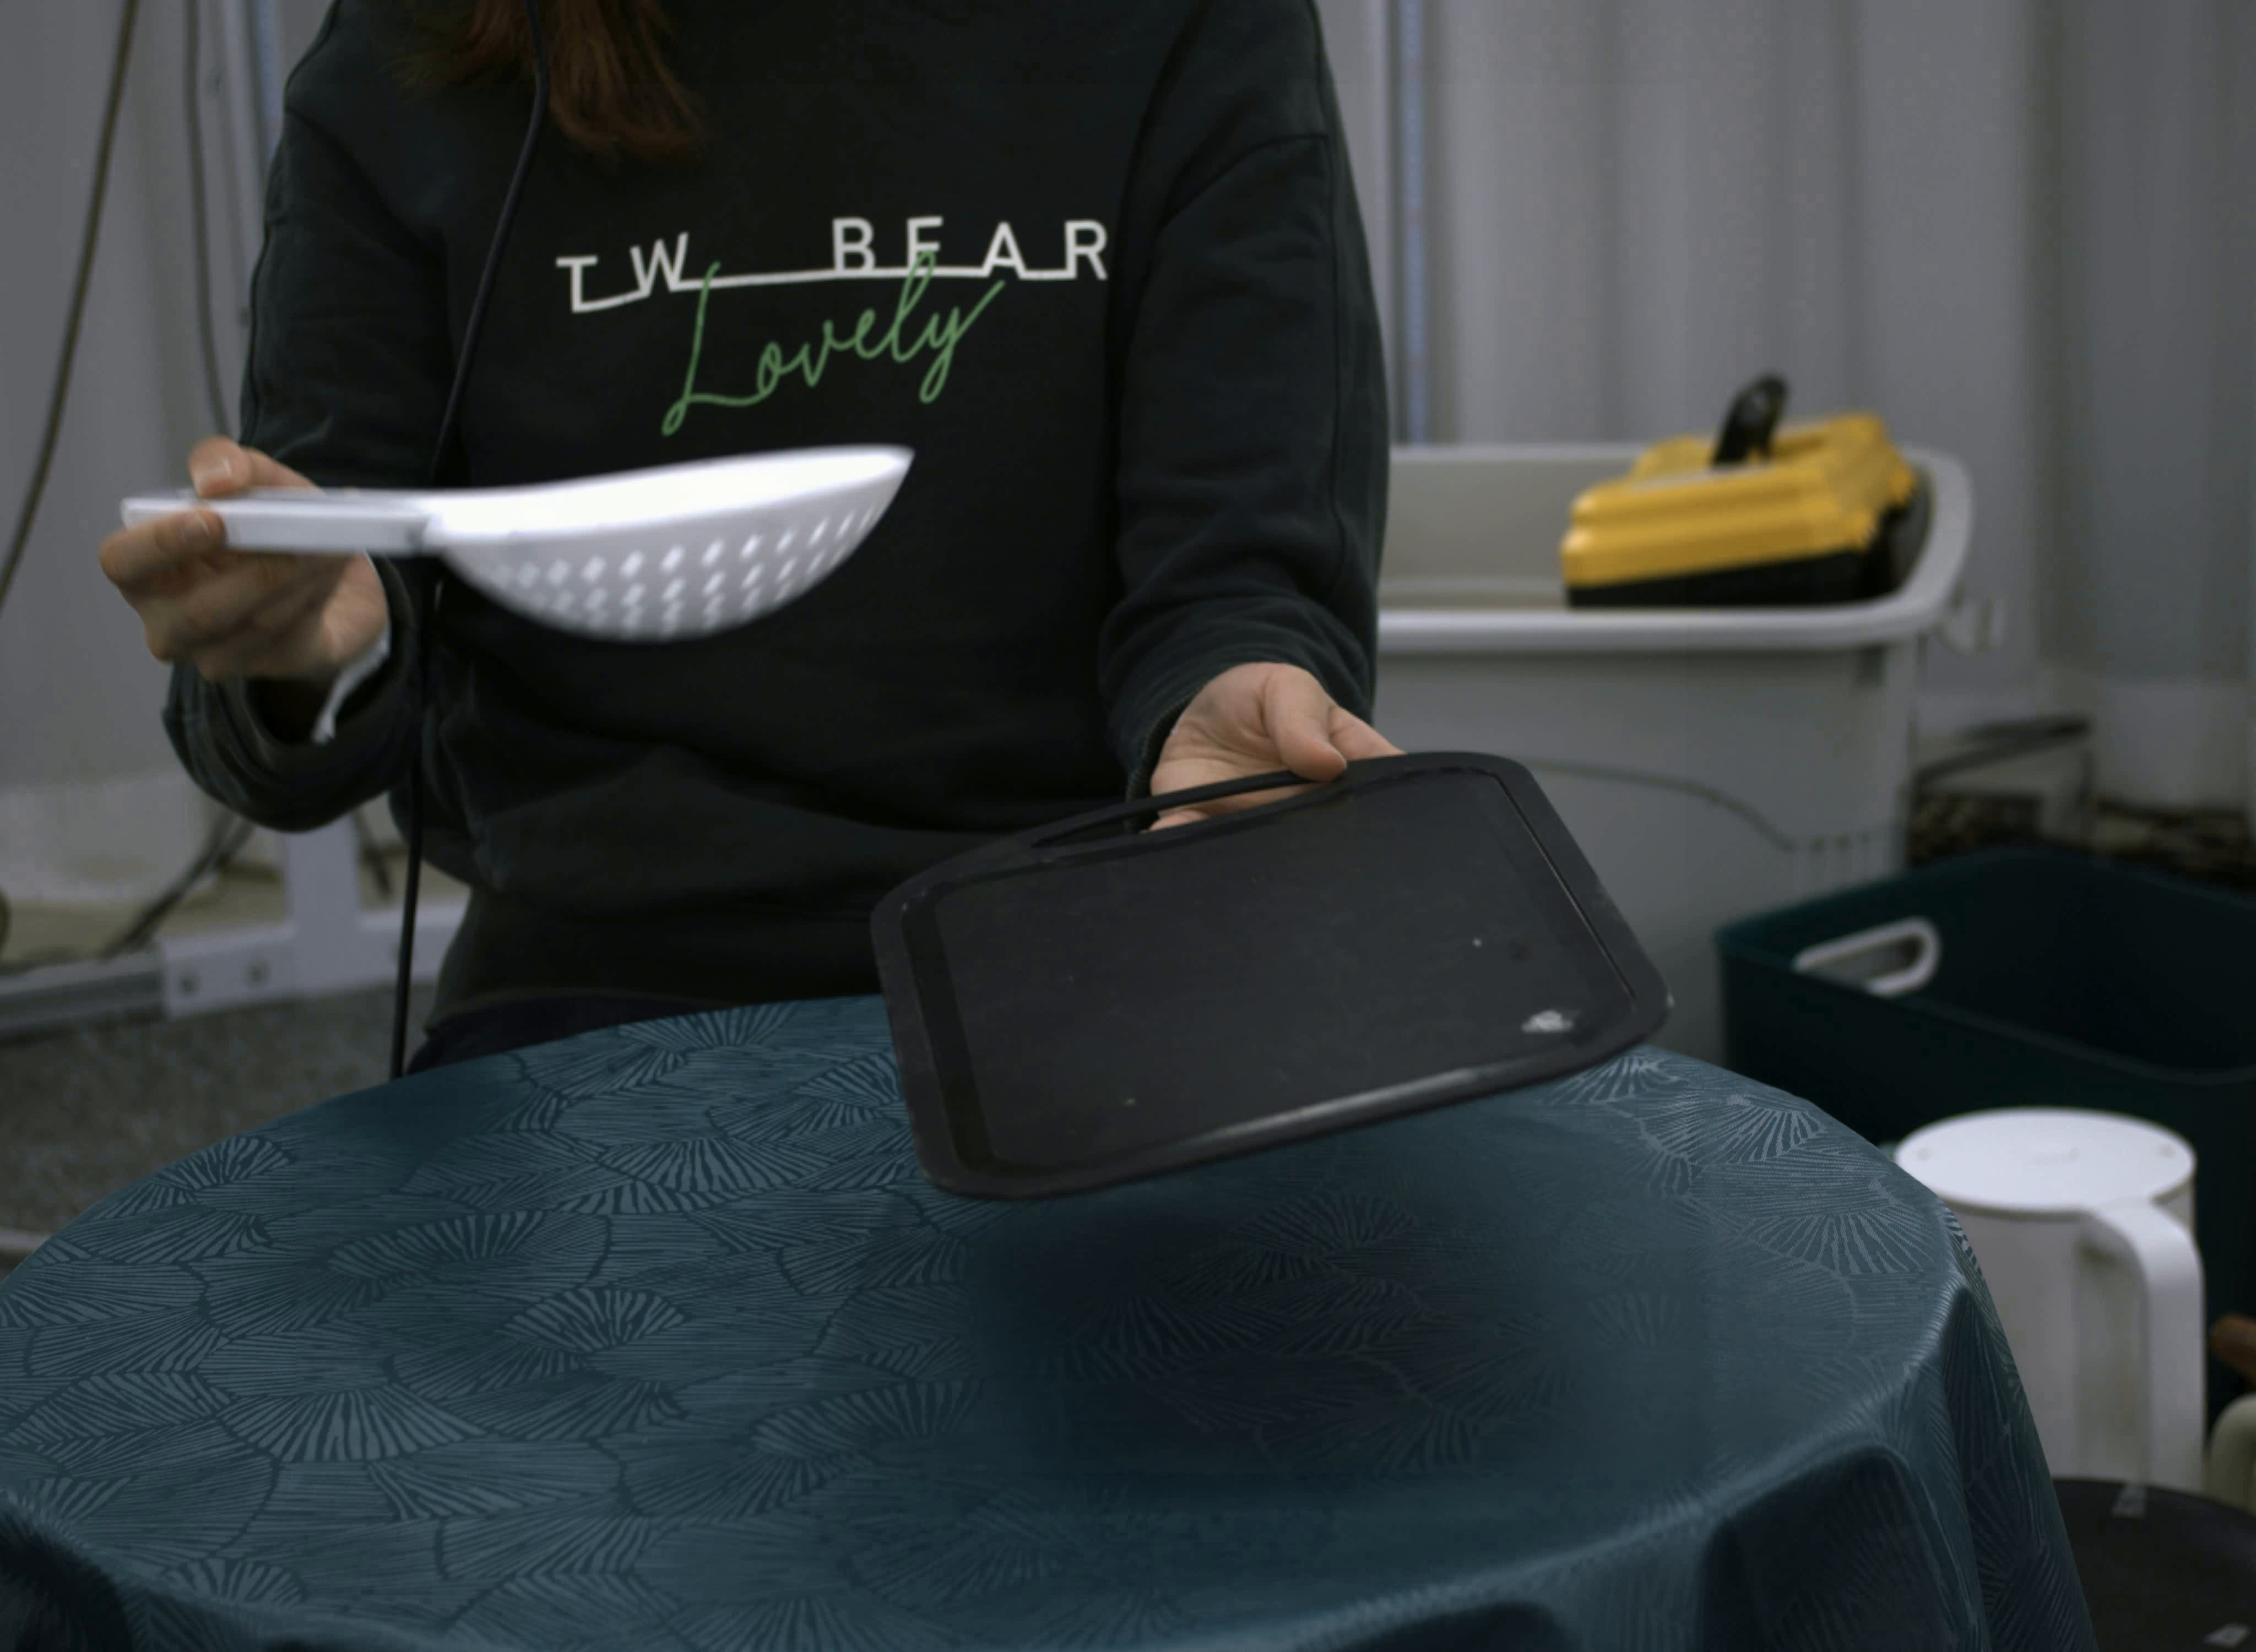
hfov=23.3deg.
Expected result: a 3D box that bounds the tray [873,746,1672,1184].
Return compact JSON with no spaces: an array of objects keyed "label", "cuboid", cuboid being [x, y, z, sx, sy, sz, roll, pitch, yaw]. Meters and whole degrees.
[{"label":"tray","cuboid":[0.032,0.032,1.588,0.210,0.010,0.328,-13,17,-2]}]

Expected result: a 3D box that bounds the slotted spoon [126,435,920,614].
[{"label":"slotted spoon","cuboid":[-0.196,-0.096,1.616,0.135,0.045,0.351,-14,16,-40]}]
